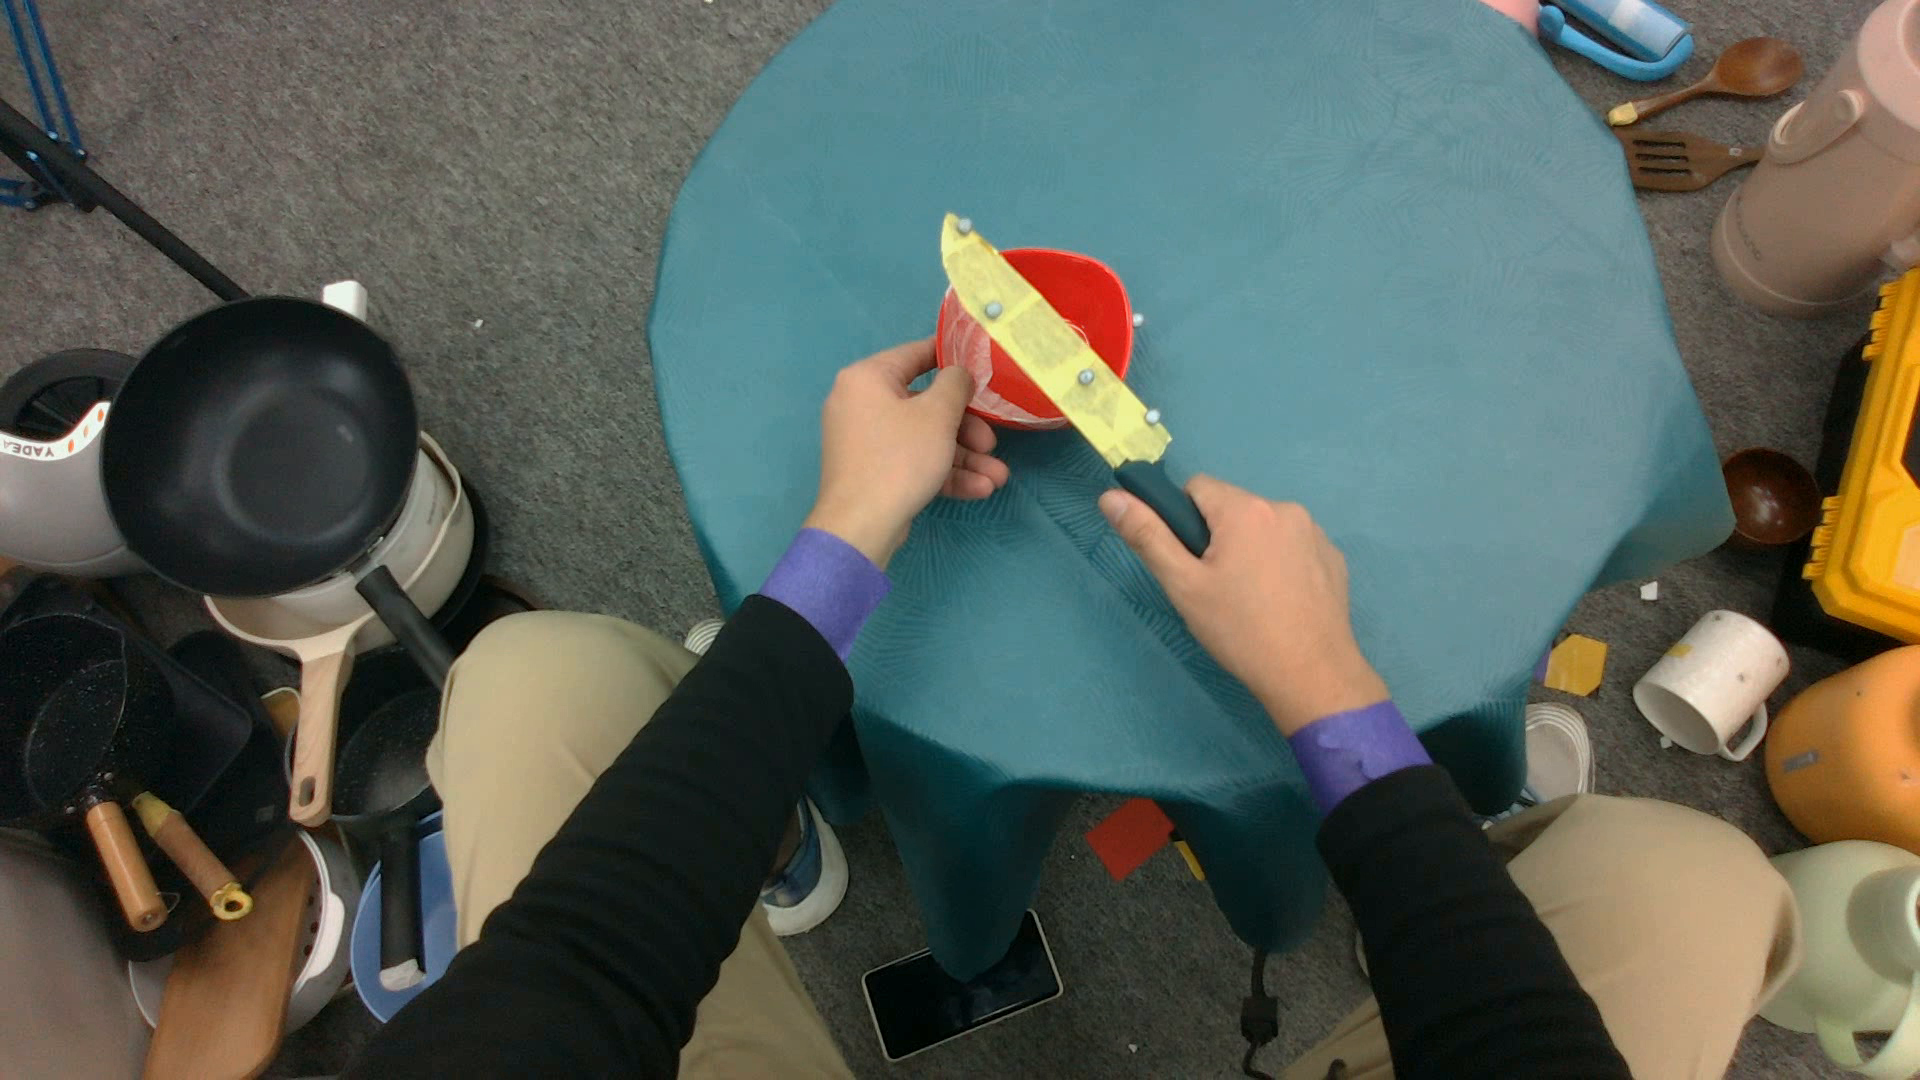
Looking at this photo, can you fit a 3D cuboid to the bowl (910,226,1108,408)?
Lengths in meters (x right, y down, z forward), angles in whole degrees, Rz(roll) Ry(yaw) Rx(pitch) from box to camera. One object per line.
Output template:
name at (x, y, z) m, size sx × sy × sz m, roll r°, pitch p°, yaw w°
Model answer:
bowl at (0.028, -0.119, 0.788) m, size 0.119 × 0.051 × 0.119 m, roll 0°, pitch 69°, yaw 1°

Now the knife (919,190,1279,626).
knife at (0.073, -0.072, 0.725) m, size 0.289 × 0.027 × 0.081 m, roll 50°, pitch 37°, yaw -2°
